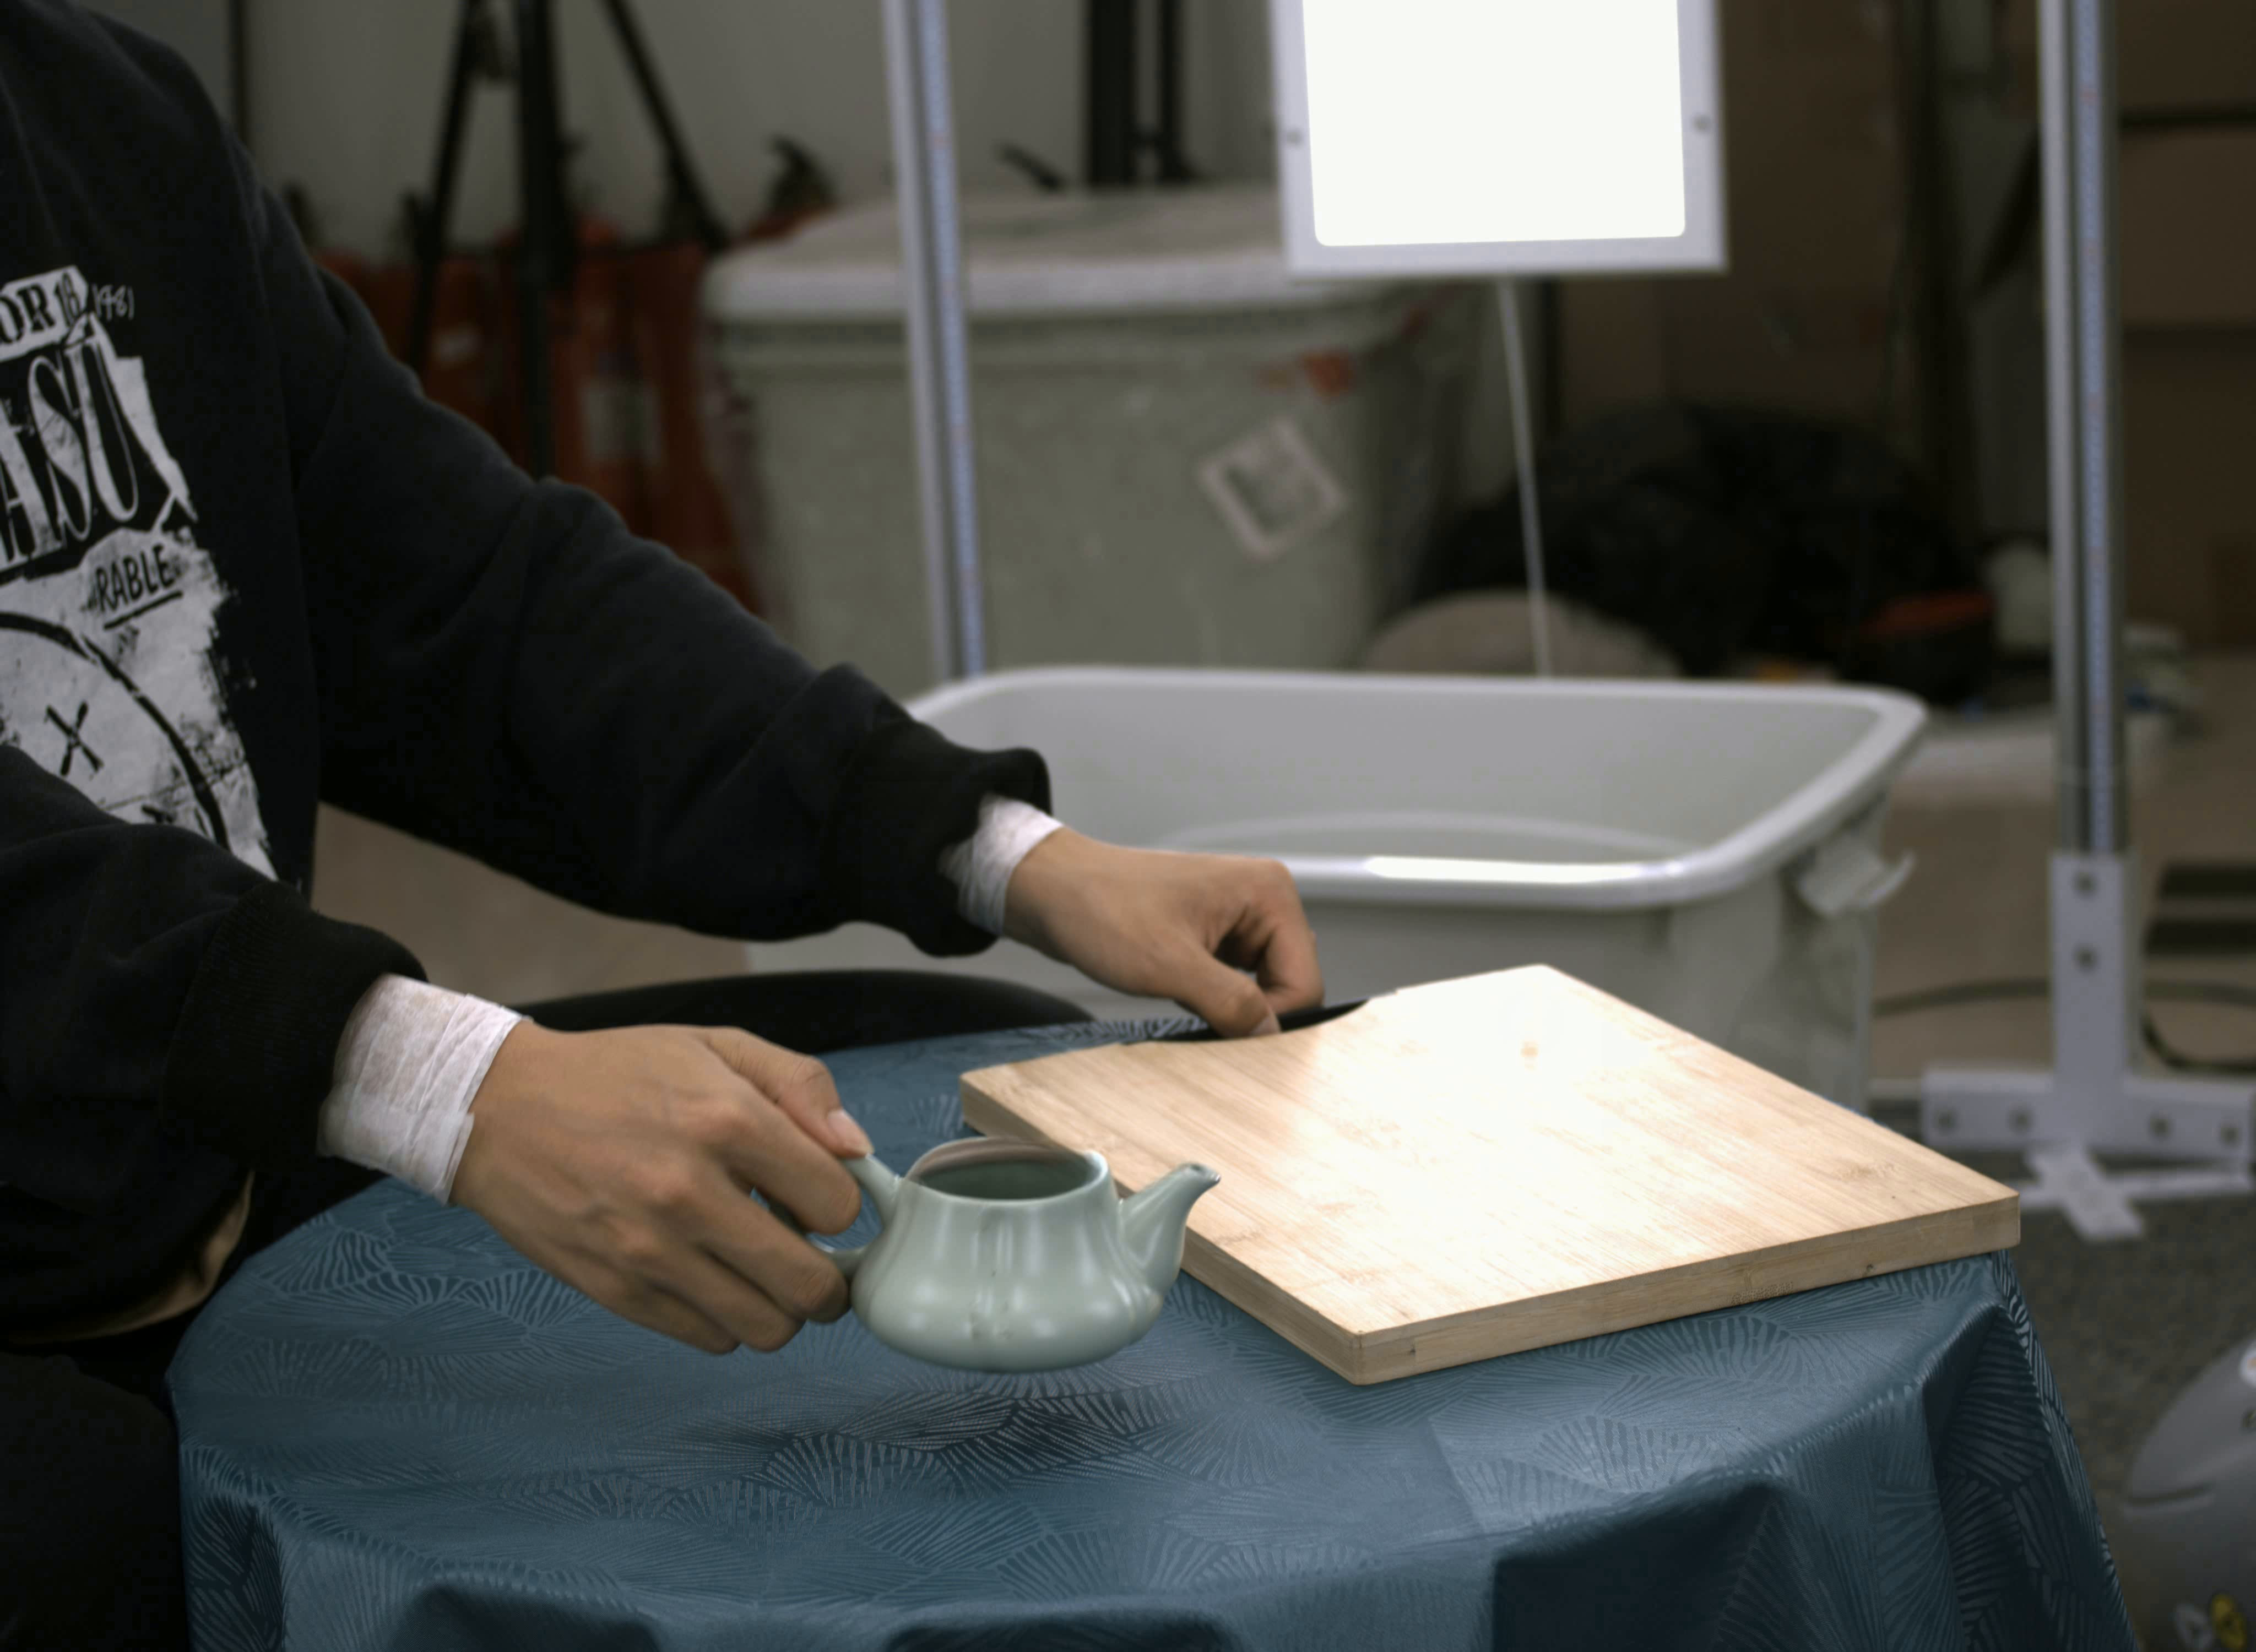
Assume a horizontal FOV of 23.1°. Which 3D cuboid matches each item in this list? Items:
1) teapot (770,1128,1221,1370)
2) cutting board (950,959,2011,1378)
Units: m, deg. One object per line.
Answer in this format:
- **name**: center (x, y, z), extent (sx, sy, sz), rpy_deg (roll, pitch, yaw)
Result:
- **teapot**: center (-0.041, 0.127, 1.672), extent (0.137, 0.062, 0.096), rpy_deg (2, 17, 2)
- **cutting board**: center (0.112, 0.111, 1.883), extent (0.246, 0.023, 0.354), rpy_deg (-10, 15, -21)
